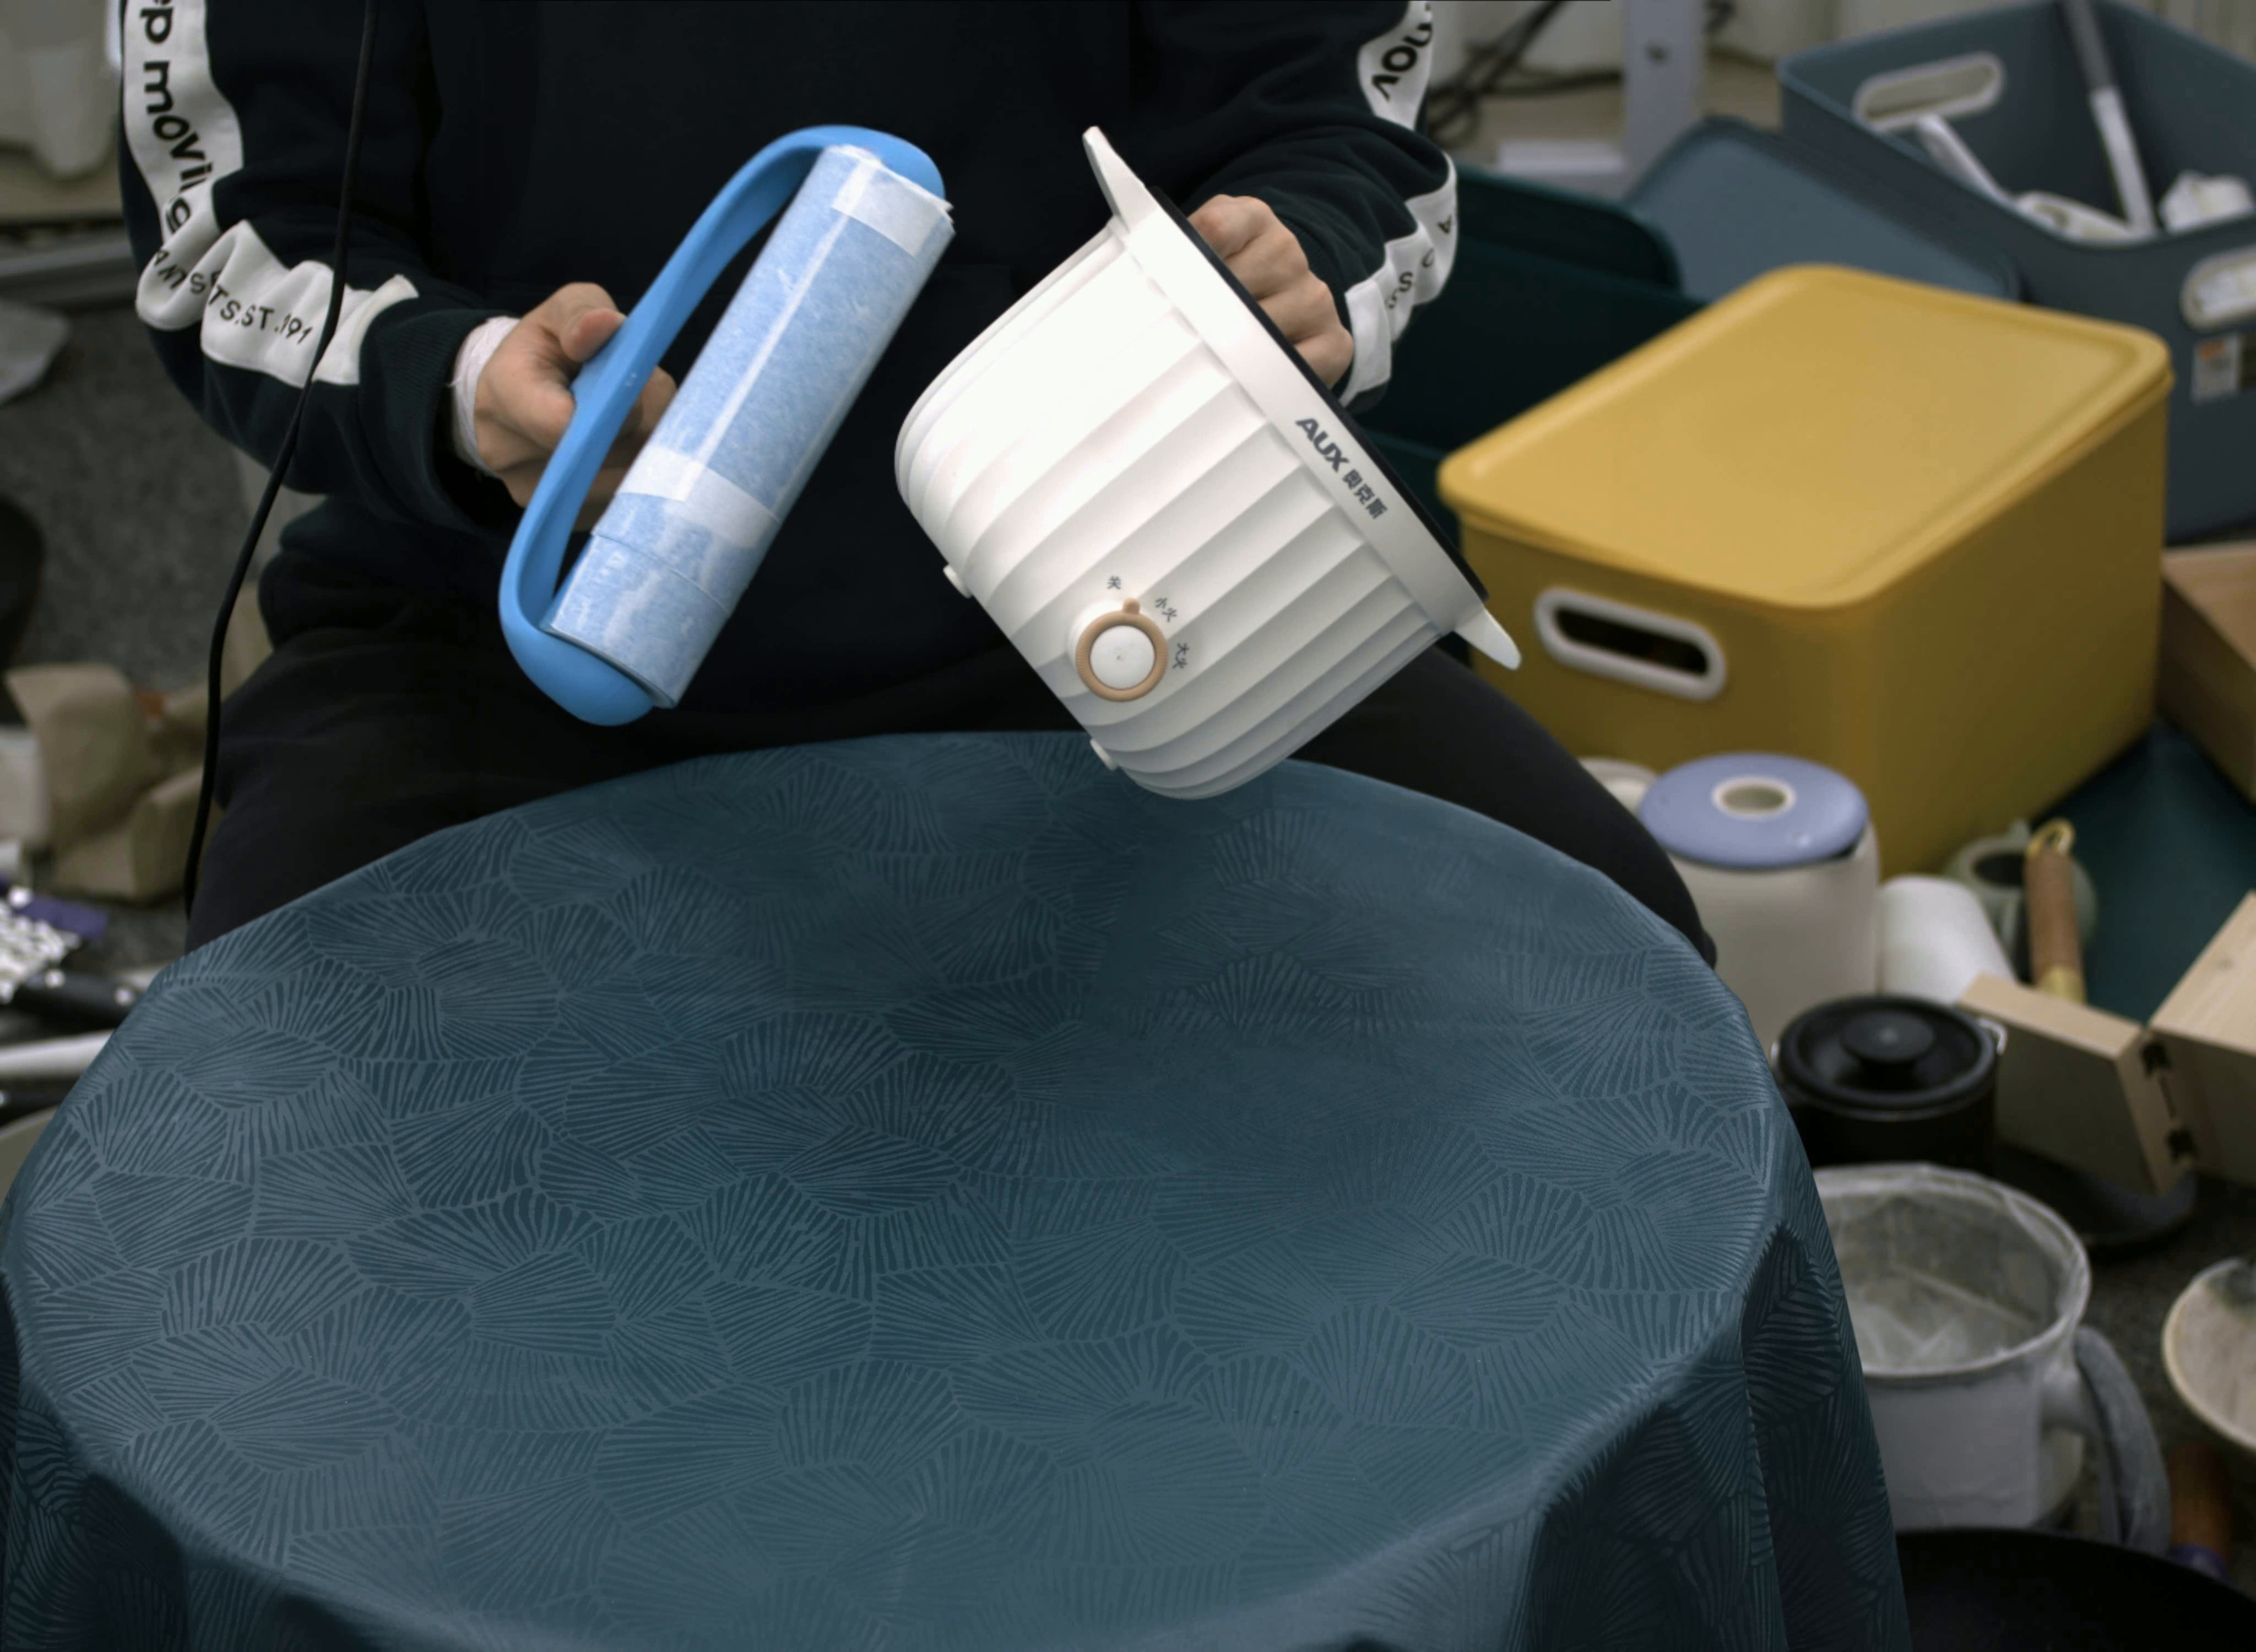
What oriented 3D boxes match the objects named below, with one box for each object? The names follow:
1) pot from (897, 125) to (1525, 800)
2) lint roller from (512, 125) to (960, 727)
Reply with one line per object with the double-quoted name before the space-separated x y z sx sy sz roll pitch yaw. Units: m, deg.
"pot" 0.017 -0.102 1.899 0.142 0.239 0.191 -41 17 -1
"lint roller" -0.159 -0.140 1.956 0.179 0.067 0.231 6 65 56
